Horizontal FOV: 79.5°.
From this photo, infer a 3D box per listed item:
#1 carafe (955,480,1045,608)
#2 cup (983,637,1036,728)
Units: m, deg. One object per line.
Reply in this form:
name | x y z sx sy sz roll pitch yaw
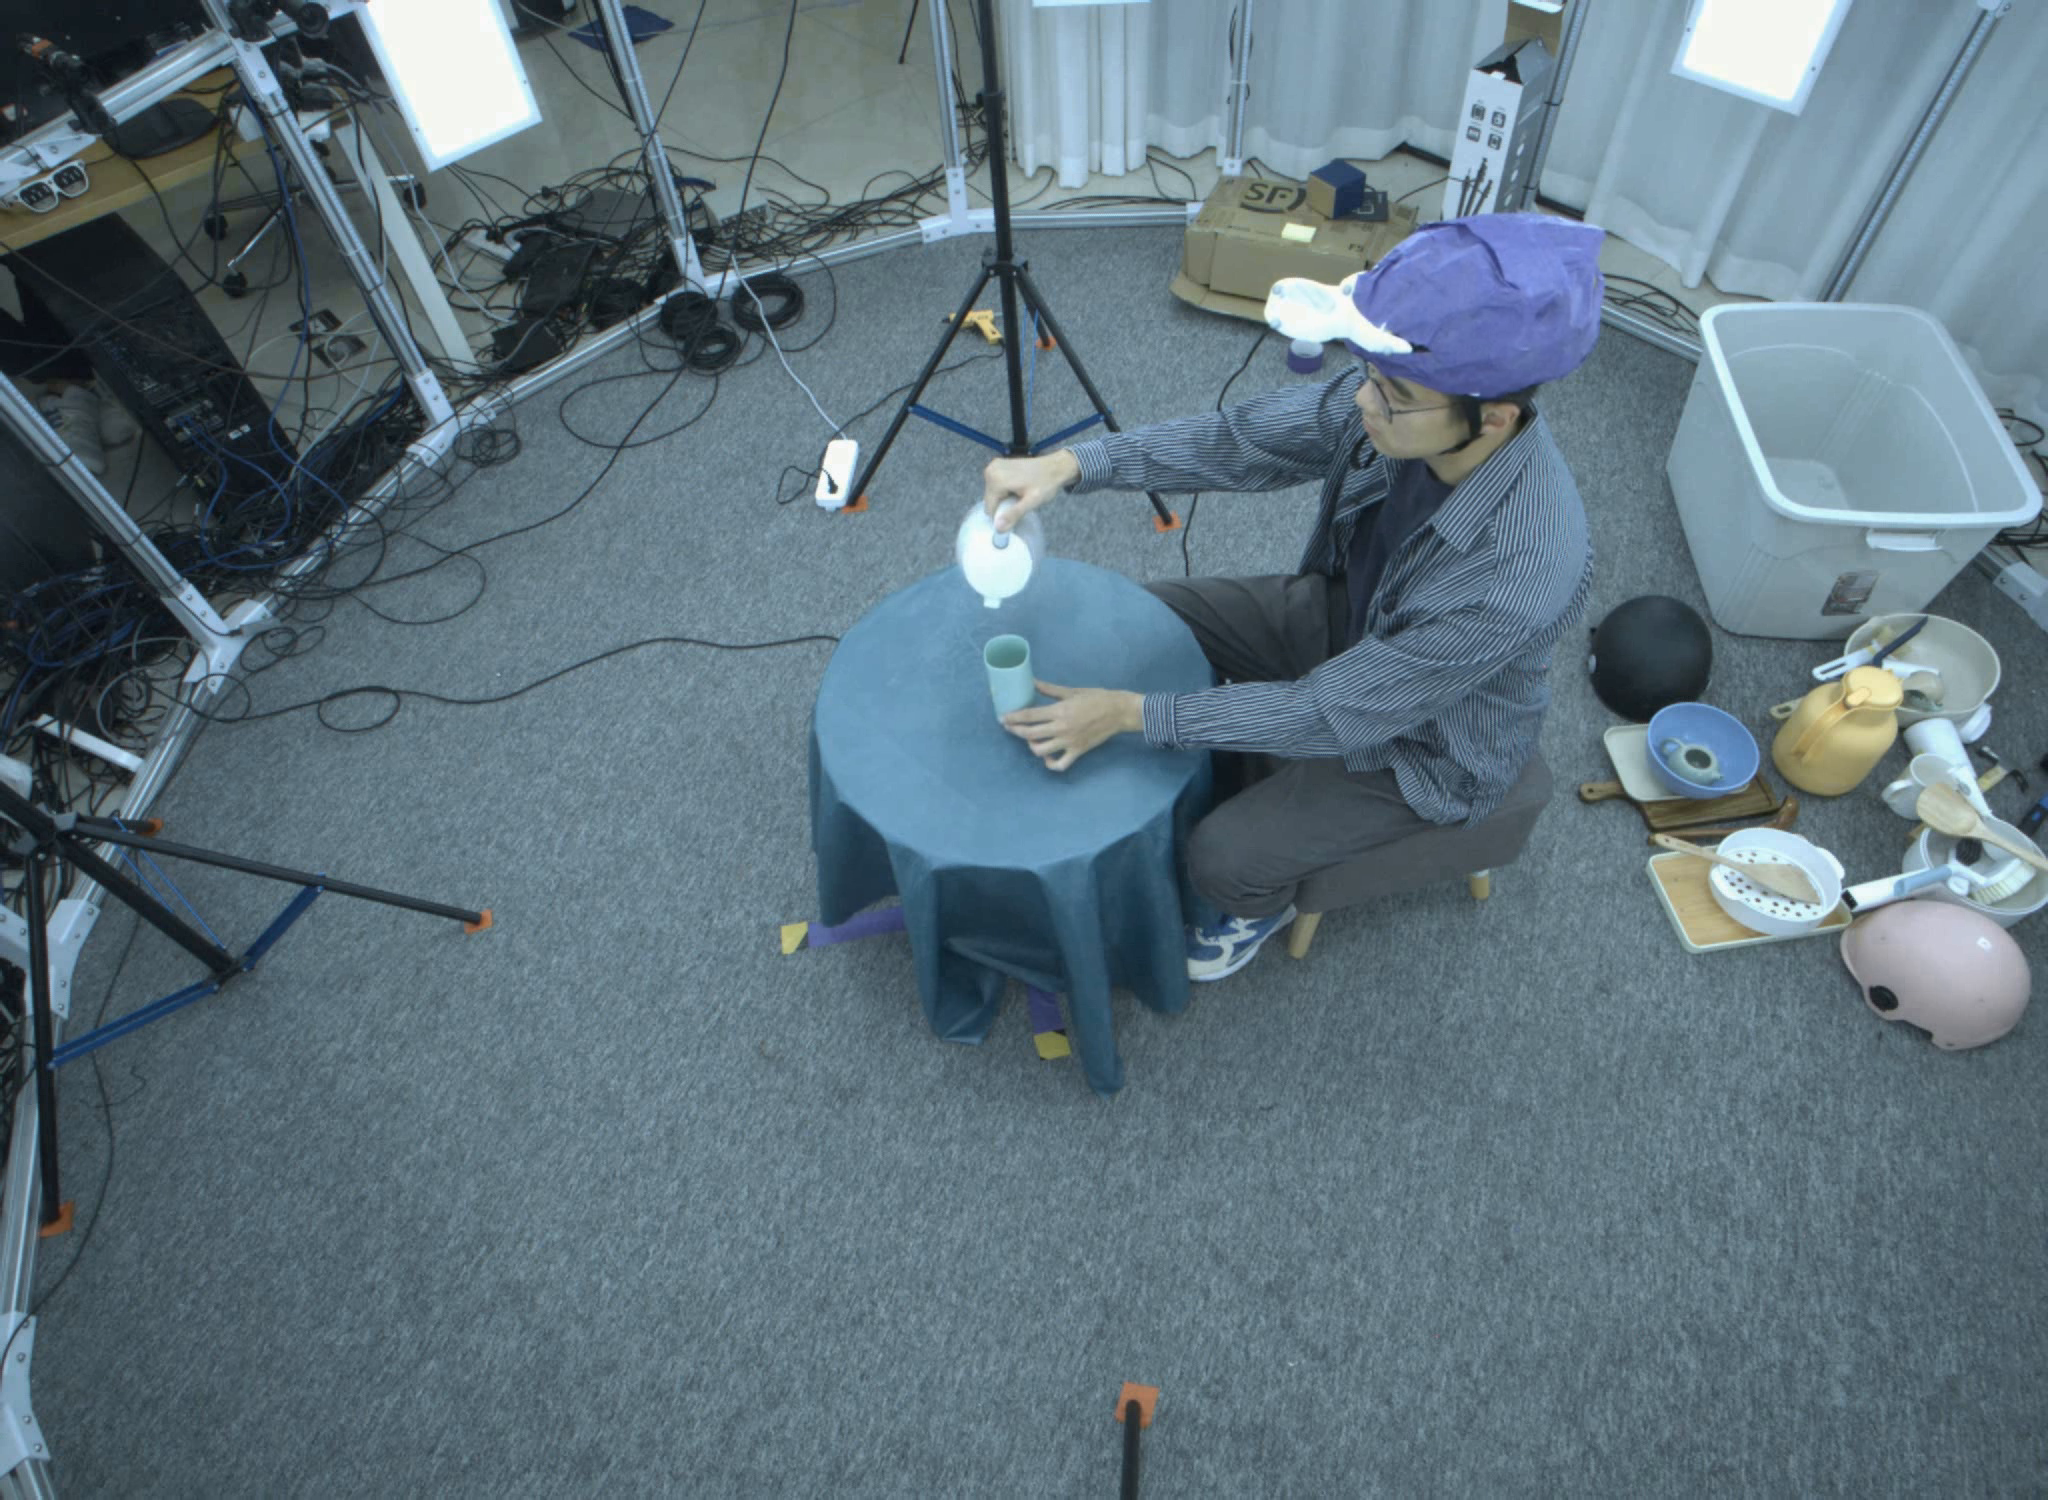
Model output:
carafe | -0.035 -0.299 1.730 0.133 0.168 0.247 6 17 -2
cup | -0.018 -0.095 1.745 0.066 0.134 0.066 -2 54 5
